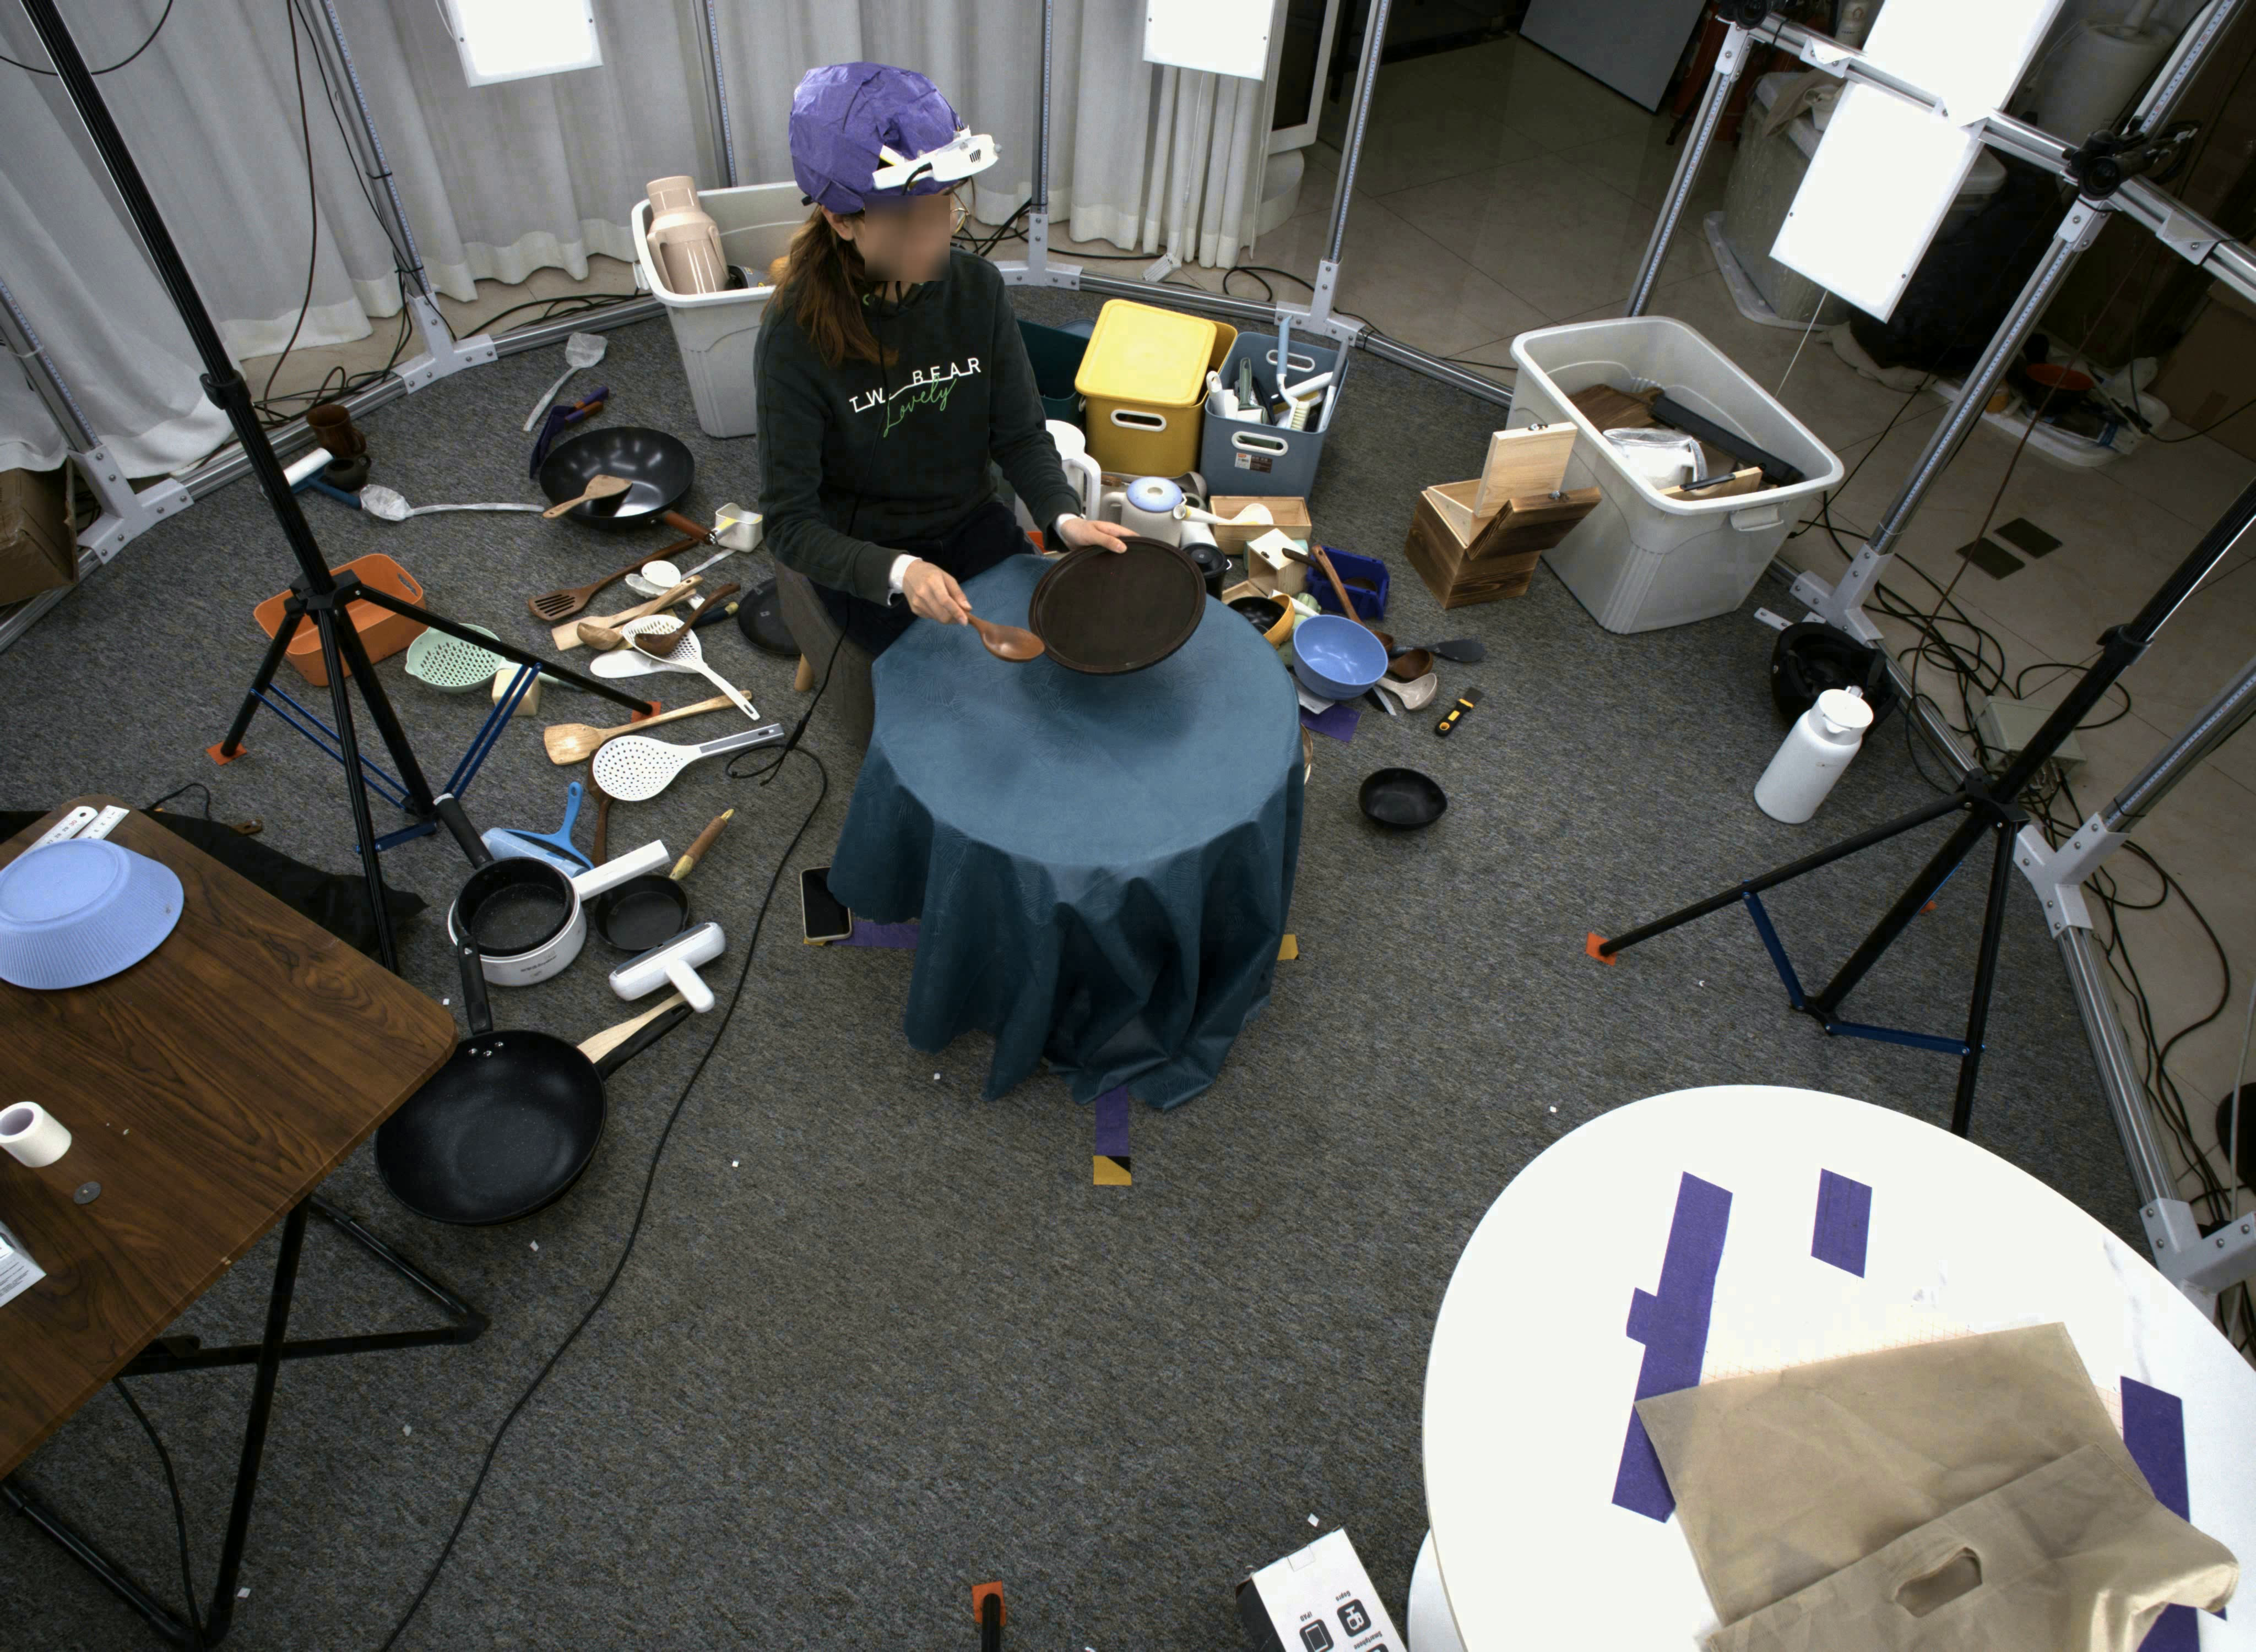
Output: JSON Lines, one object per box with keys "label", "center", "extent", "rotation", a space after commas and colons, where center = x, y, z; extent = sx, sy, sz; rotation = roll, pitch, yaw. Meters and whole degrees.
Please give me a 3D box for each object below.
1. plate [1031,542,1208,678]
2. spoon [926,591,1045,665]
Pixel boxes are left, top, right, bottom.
{"label": "plate", "center": [-0.012, -0.307, 1.820], "extent": [0.255, 0.028, 0.261], "rotation": [-5, 55, 7]}
{"label": "spoon", "center": [-0.199, -0.269, 1.749], "extent": [0.219, 0.017, 0.076], "rotation": [35, 46, 30]}
